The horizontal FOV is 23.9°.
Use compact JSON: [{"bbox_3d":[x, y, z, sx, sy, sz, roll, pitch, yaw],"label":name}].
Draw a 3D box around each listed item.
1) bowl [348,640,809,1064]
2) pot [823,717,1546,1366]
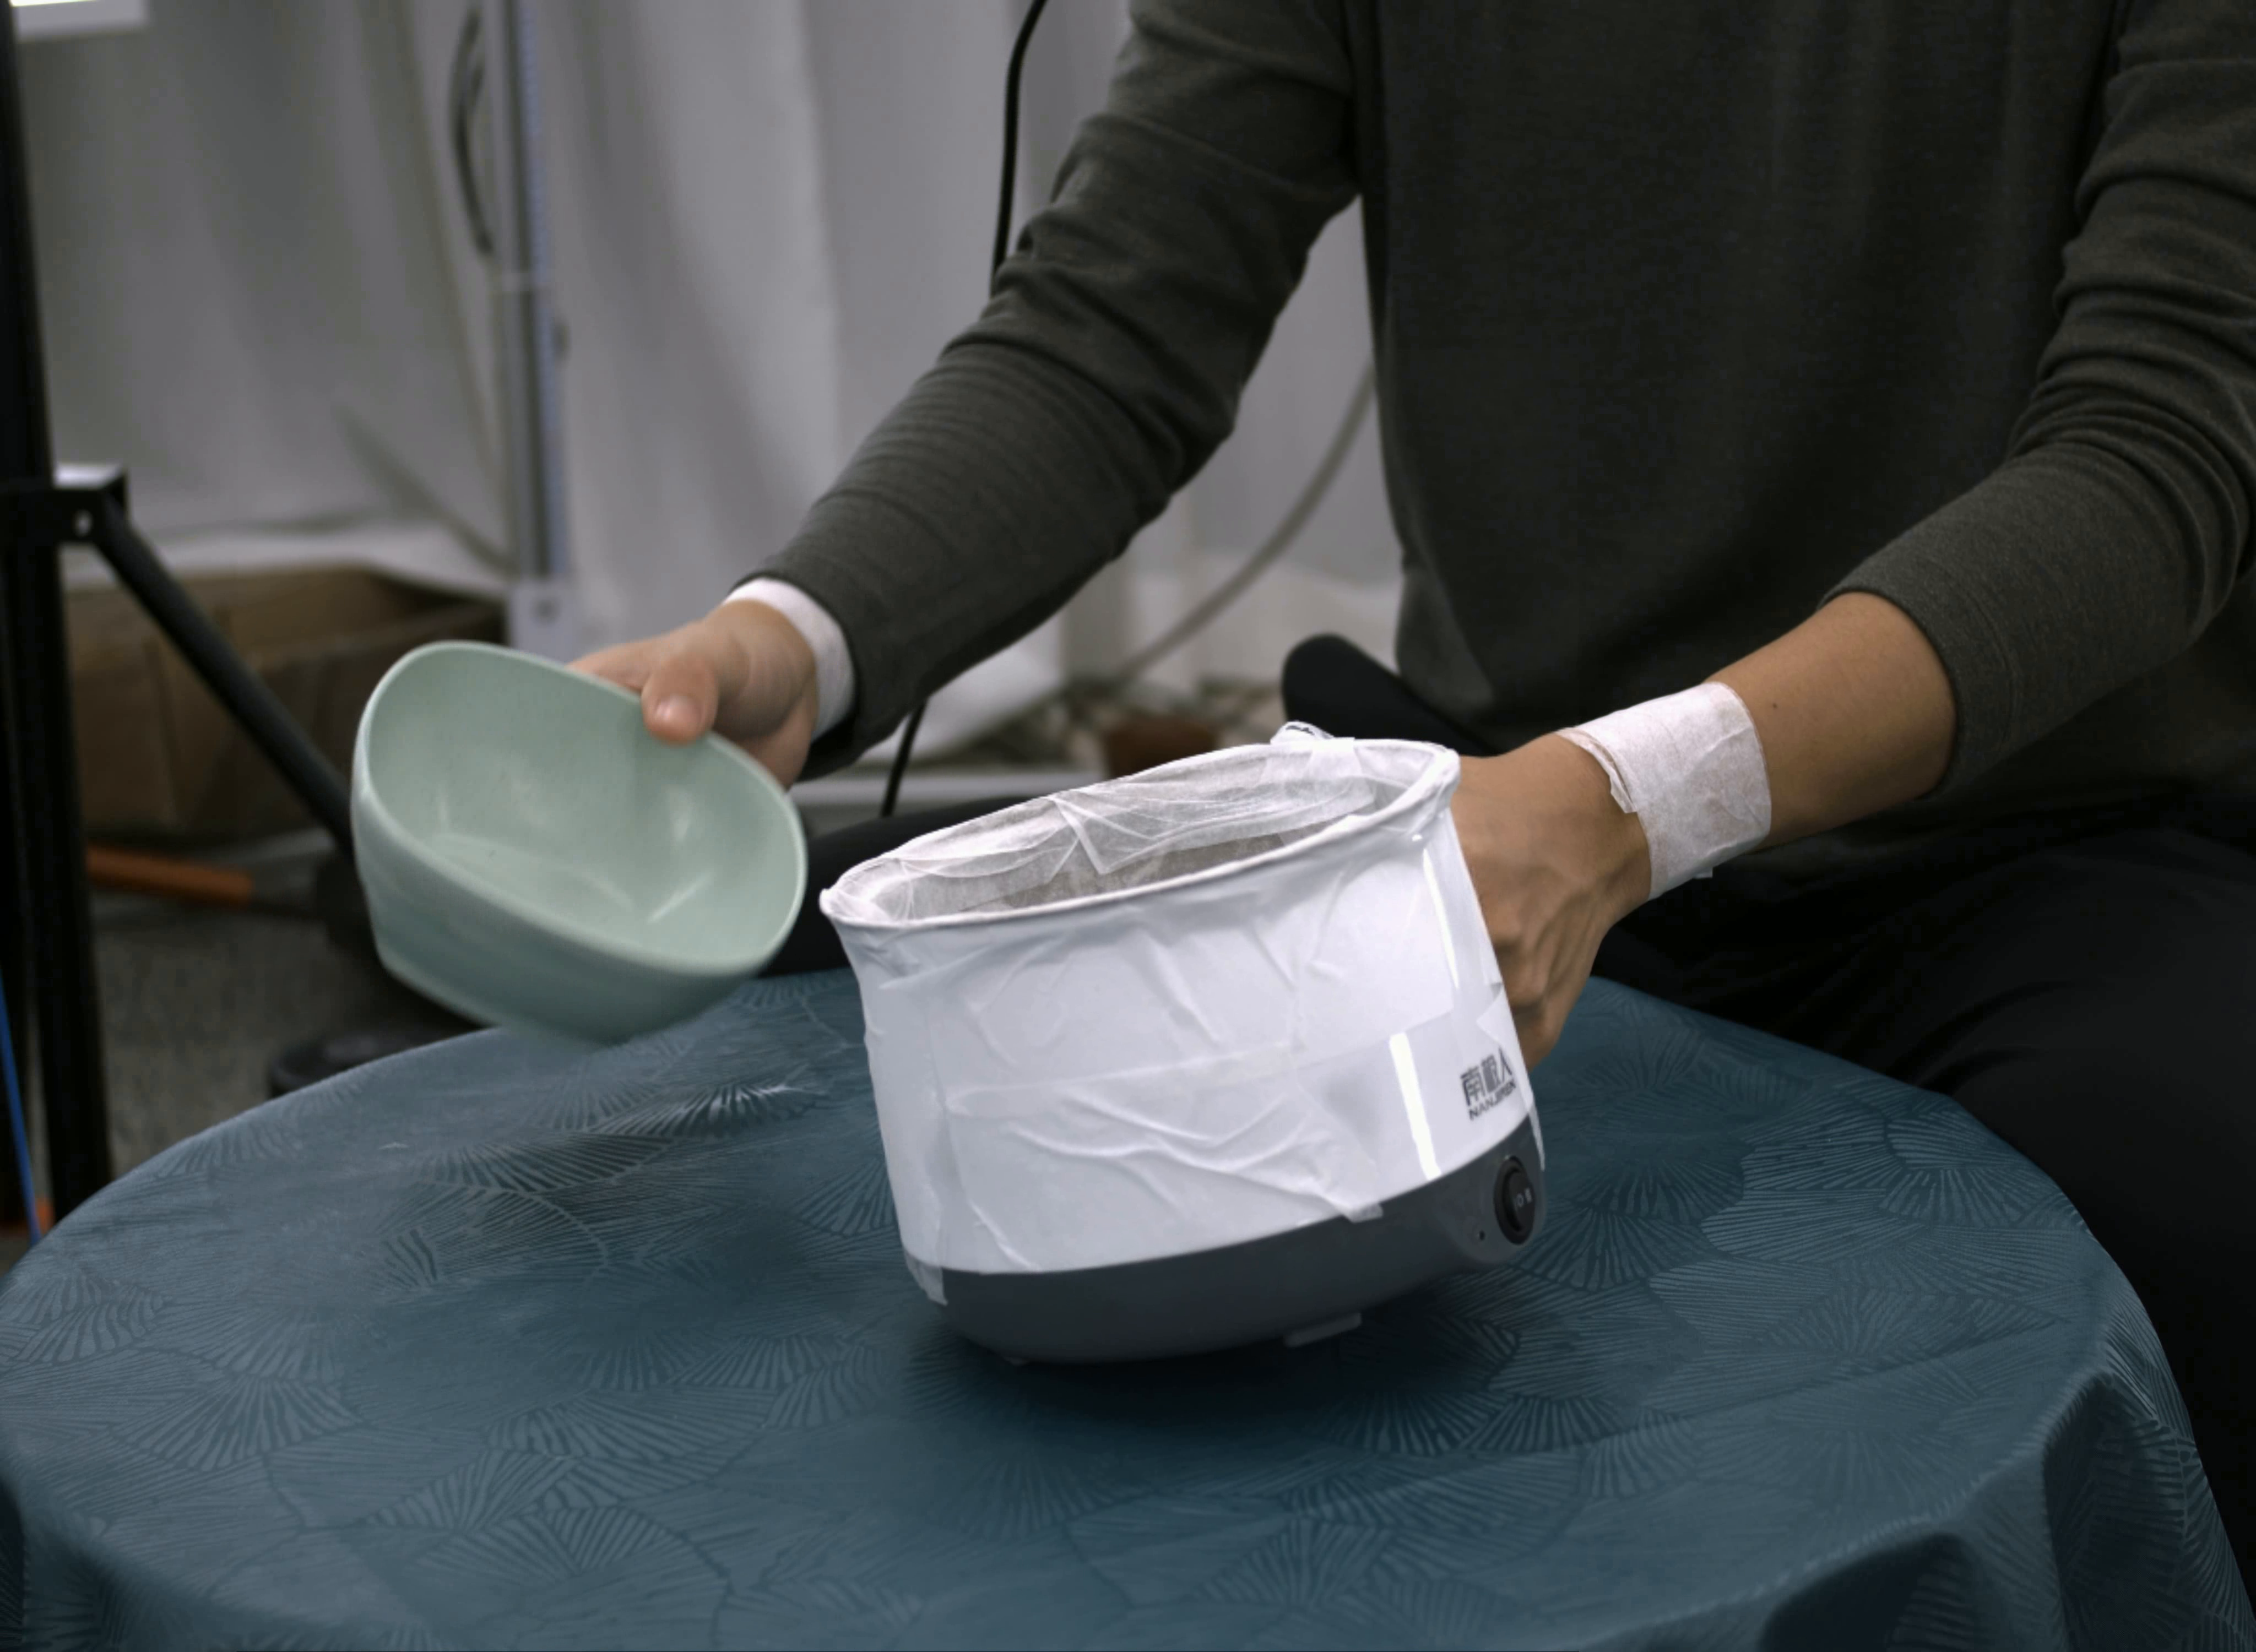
[{"bbox_3d":[-0.168,0.016,1.565,0.149,0.059,0.153,17,35,-14],"label":"bowl"},{"bbox_3d":[0.029,0.054,1.461,0.181,0.136,0.230,-7,11,29],"label":"pot"}]
